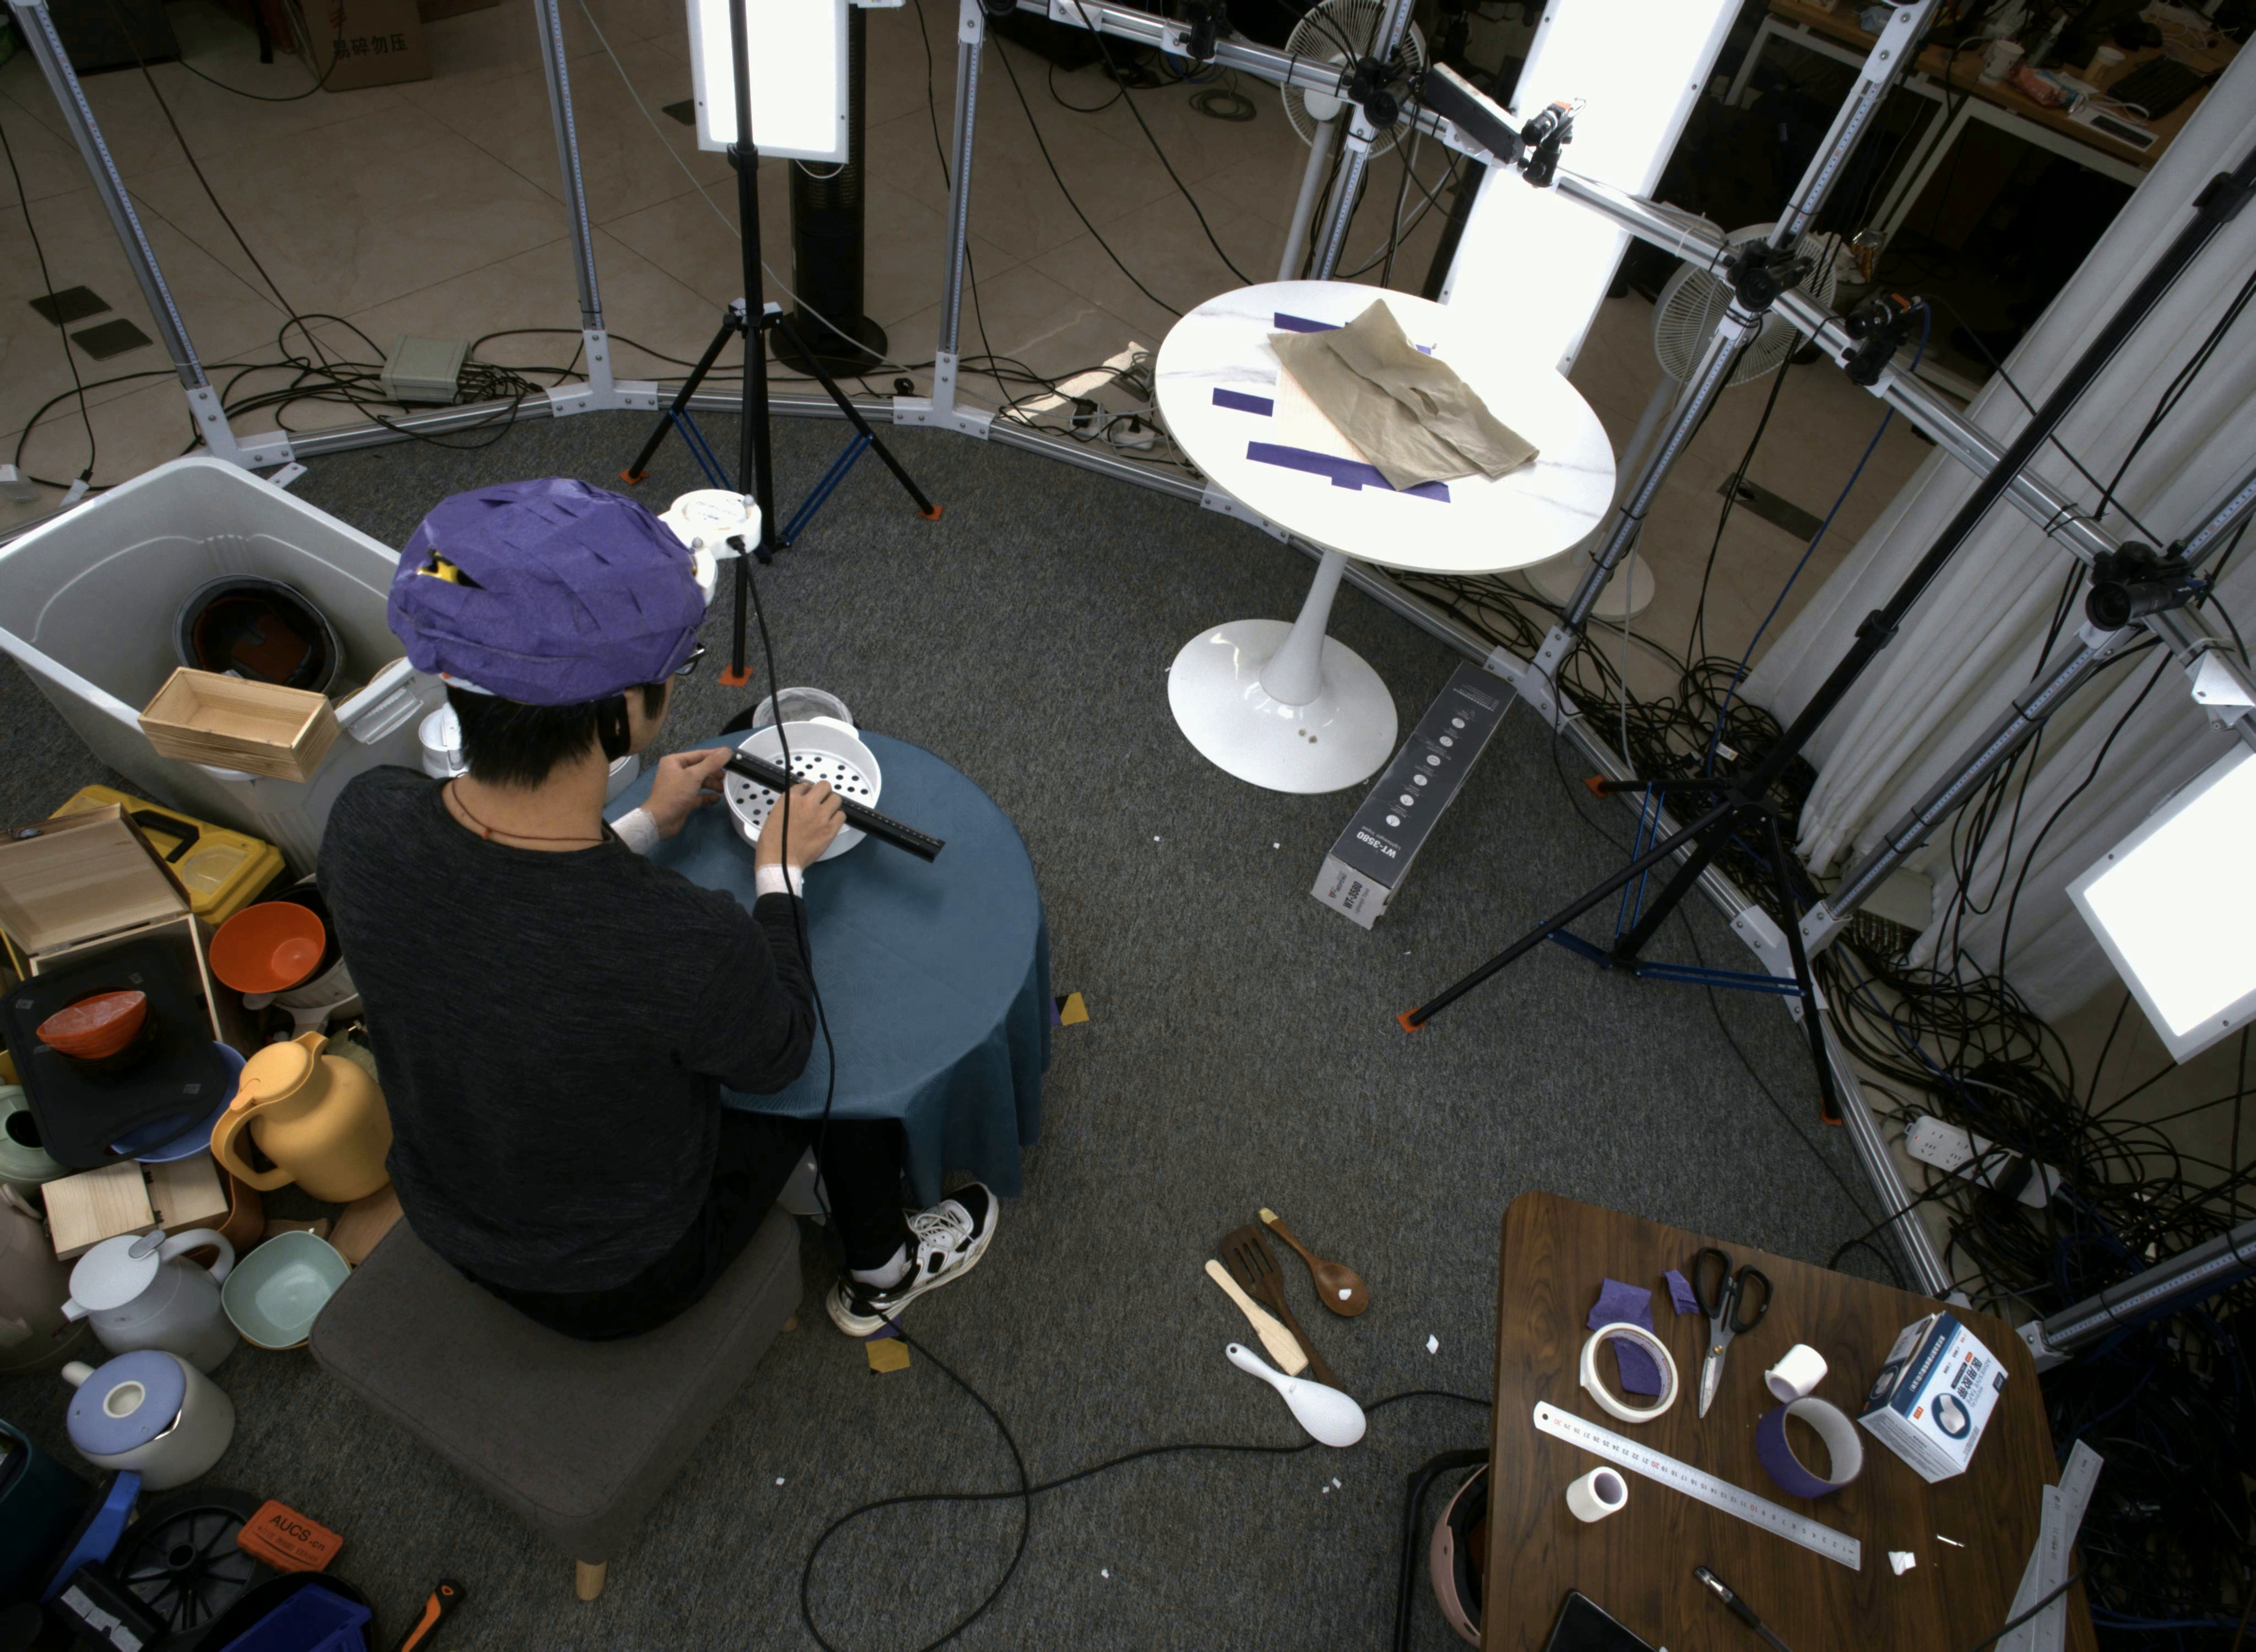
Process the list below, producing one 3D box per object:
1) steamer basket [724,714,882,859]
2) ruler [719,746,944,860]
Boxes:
[{"bbox_3d":[-0.427,-0.048,1.710,0.200,0.070,0.228,19,49,0],"label":"steamer basket"},{"bbox_3d":[-0.380,-0.036,1.661,0.308,0.017,0.039,24,48,4],"label":"ruler"}]
